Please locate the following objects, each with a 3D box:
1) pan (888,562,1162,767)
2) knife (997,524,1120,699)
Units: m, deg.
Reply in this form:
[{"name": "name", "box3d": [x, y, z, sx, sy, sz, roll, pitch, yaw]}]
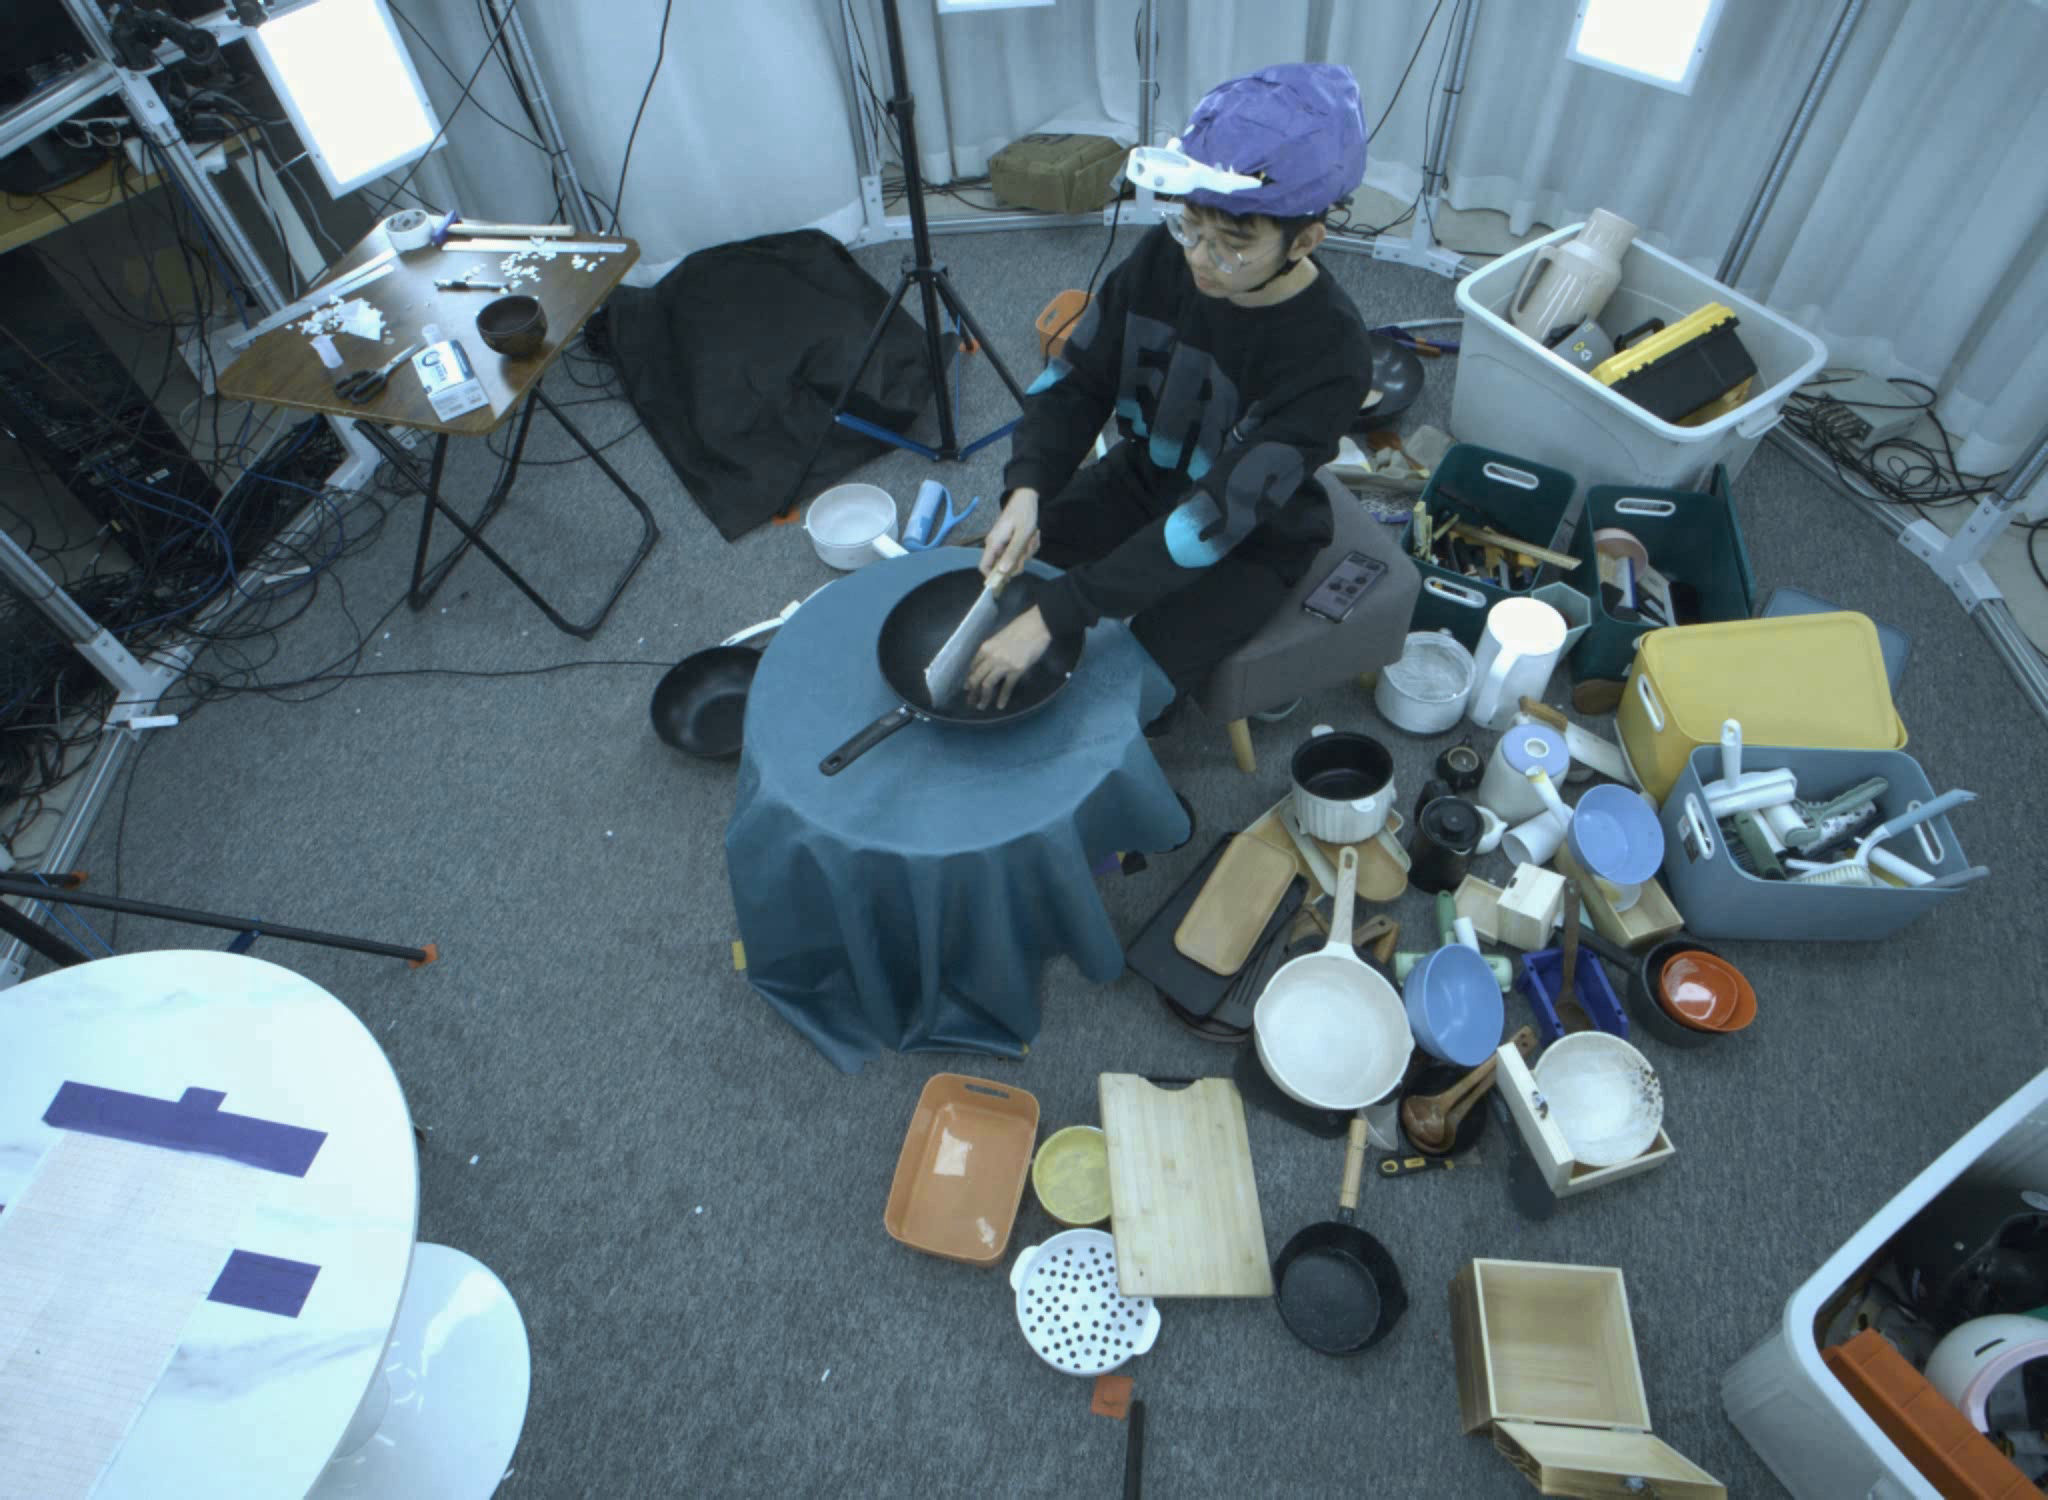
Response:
[{"name": "pan", "box3d": [-0.010, -0.098, 1.792, 0.304, 0.113, 0.480, 36, 63, 26]}, {"name": "knife", "box3d": [0.048, -0.209, 1.813, 0.021, 0.115, 0.316, 30, 76, 19]}]
